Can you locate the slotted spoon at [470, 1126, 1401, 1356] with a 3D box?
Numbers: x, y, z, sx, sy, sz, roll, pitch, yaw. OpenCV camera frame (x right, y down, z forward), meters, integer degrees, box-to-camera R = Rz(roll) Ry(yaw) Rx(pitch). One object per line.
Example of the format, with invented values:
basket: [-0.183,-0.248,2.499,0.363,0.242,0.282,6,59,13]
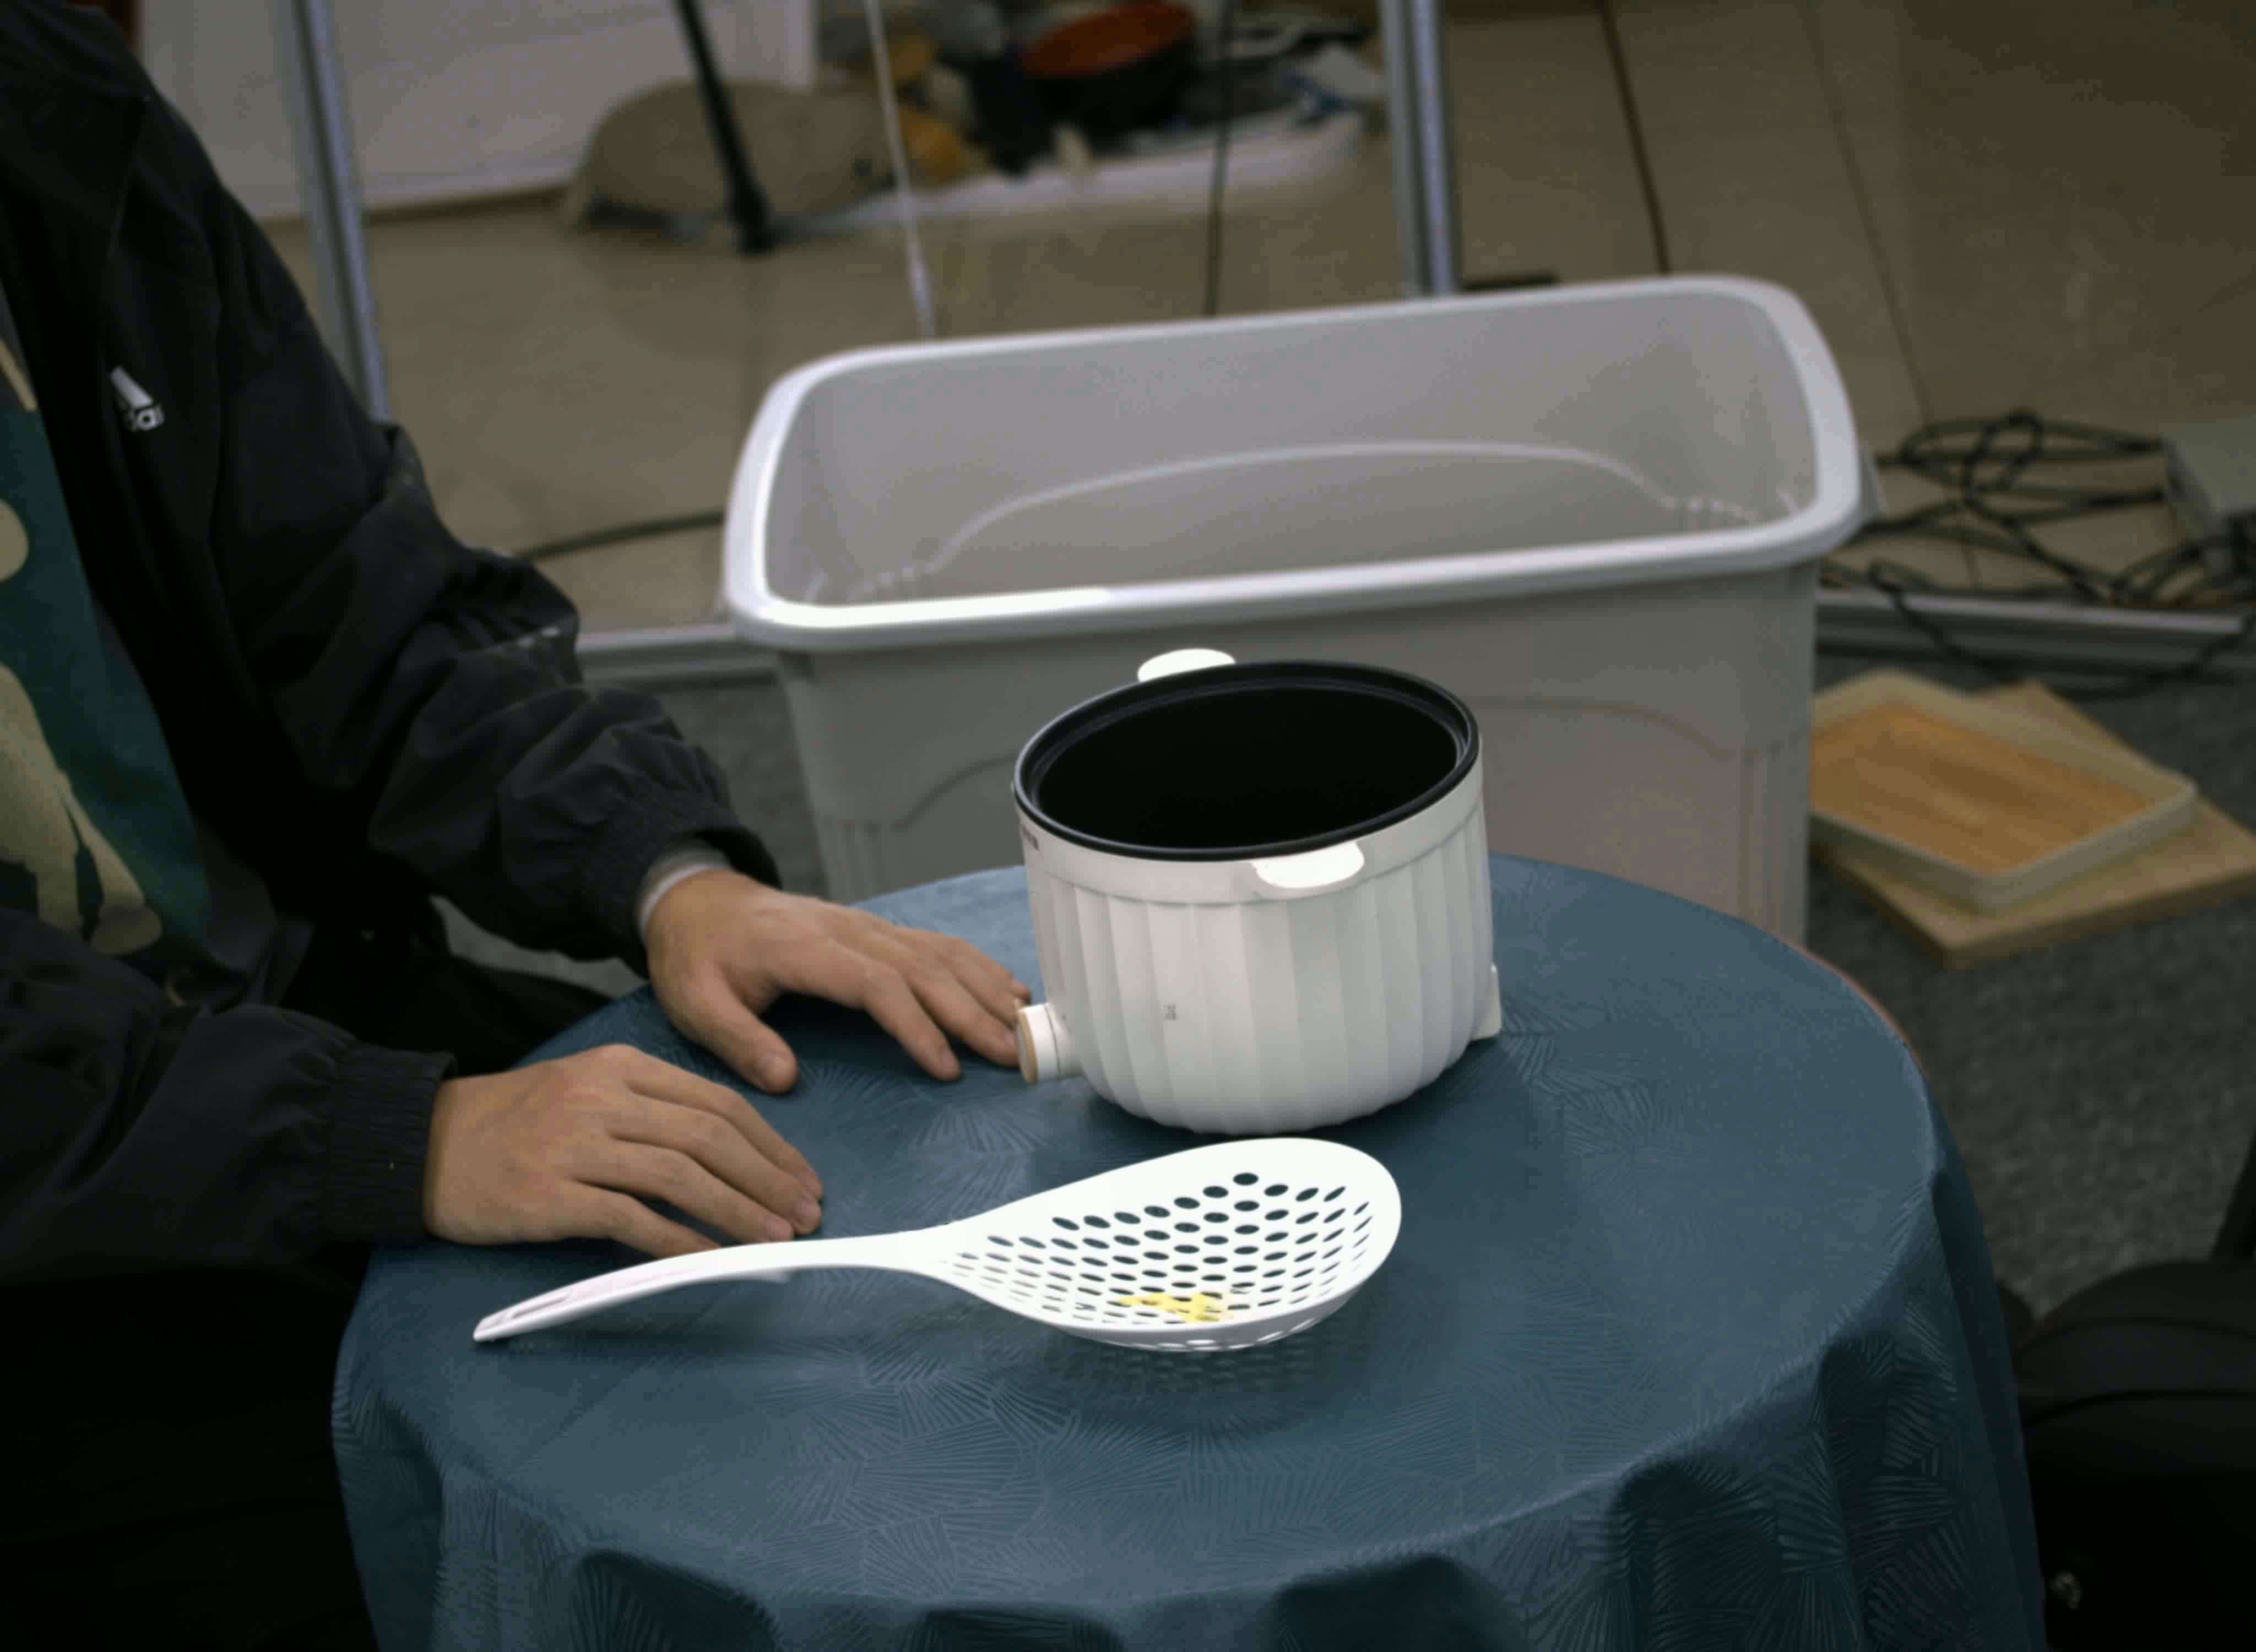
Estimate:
slotted spoon: [-0.072,0.164,2.061,0.347,0.051,0.135,-1,26,9]

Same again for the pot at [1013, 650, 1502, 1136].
pot: [0.048,0.033,2.197,0.190,0.145,0.237,-8,24,-11]
